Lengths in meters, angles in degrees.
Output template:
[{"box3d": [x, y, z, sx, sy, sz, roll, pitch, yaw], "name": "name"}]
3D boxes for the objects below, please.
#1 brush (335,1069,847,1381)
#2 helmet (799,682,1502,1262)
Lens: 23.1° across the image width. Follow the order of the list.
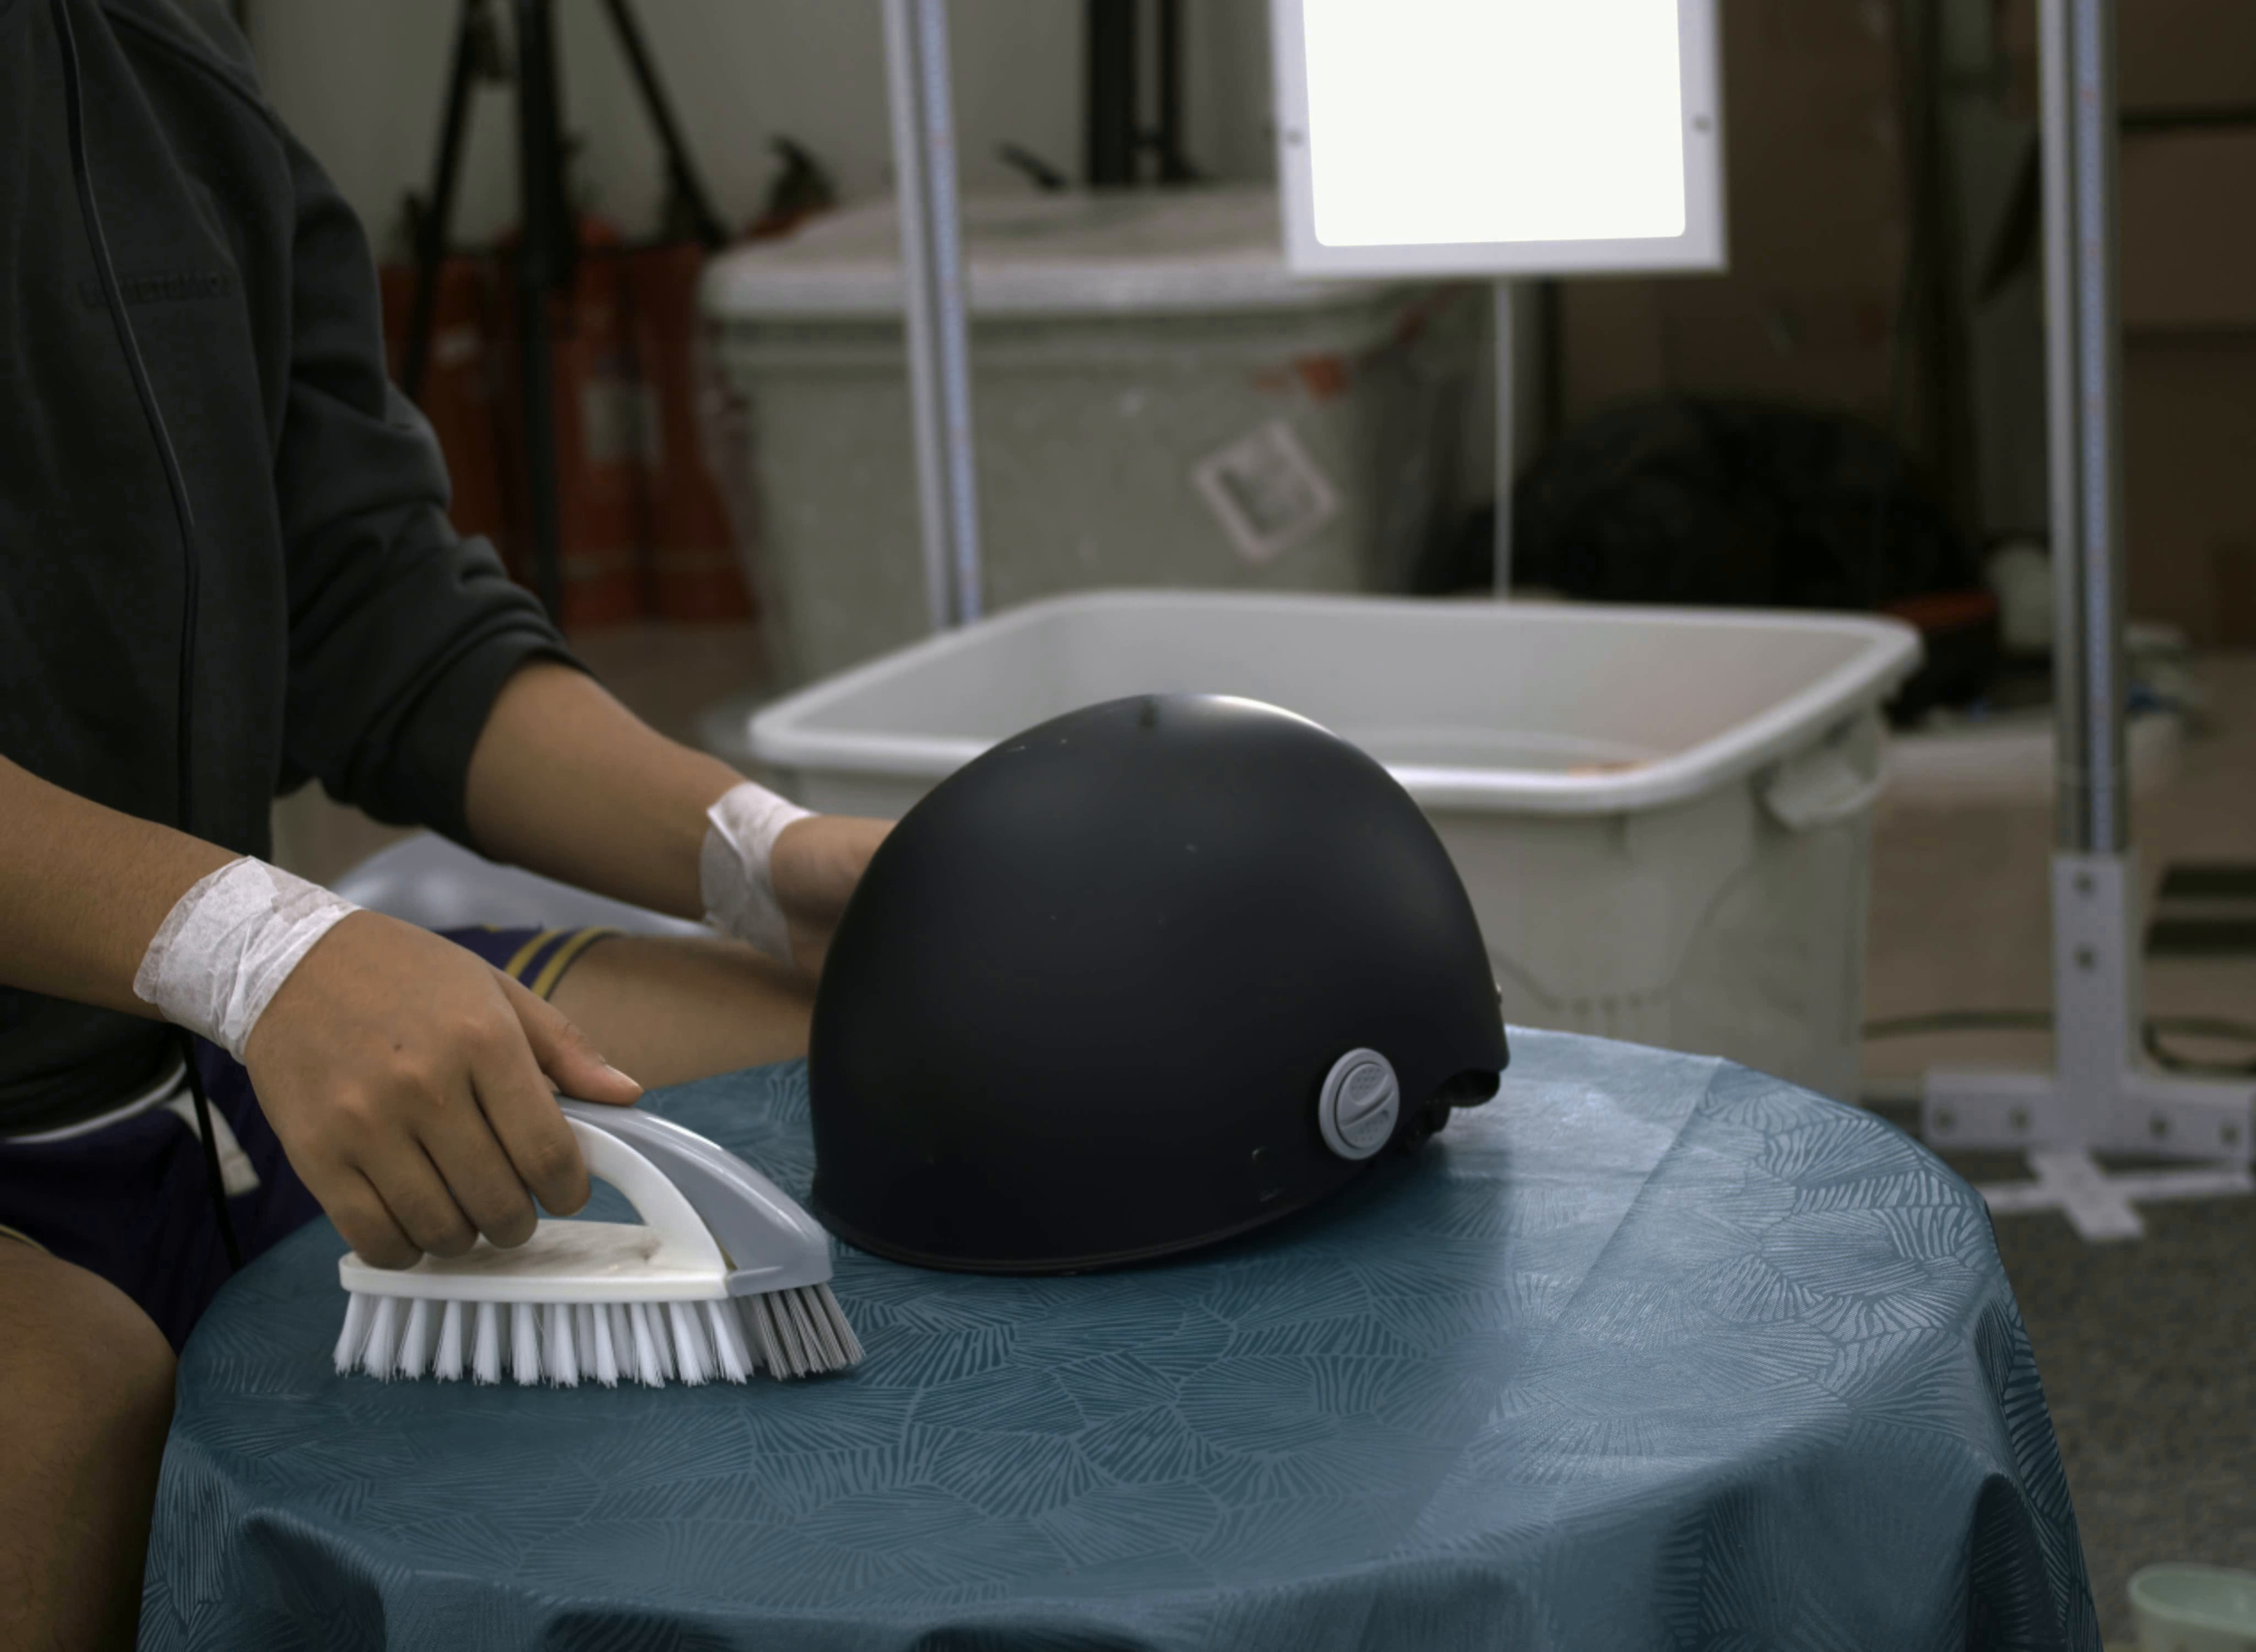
[{"box3d": [-0.171, 0.126, 1.765, 0.178, 0.094, 0.060, 5, 16, 24], "name": "brush"}, {"box3d": [0.002, 0.040, 1.916, 0.235, 0.167, 0.266, 5, 19, 37], "name": "helmet"}]
